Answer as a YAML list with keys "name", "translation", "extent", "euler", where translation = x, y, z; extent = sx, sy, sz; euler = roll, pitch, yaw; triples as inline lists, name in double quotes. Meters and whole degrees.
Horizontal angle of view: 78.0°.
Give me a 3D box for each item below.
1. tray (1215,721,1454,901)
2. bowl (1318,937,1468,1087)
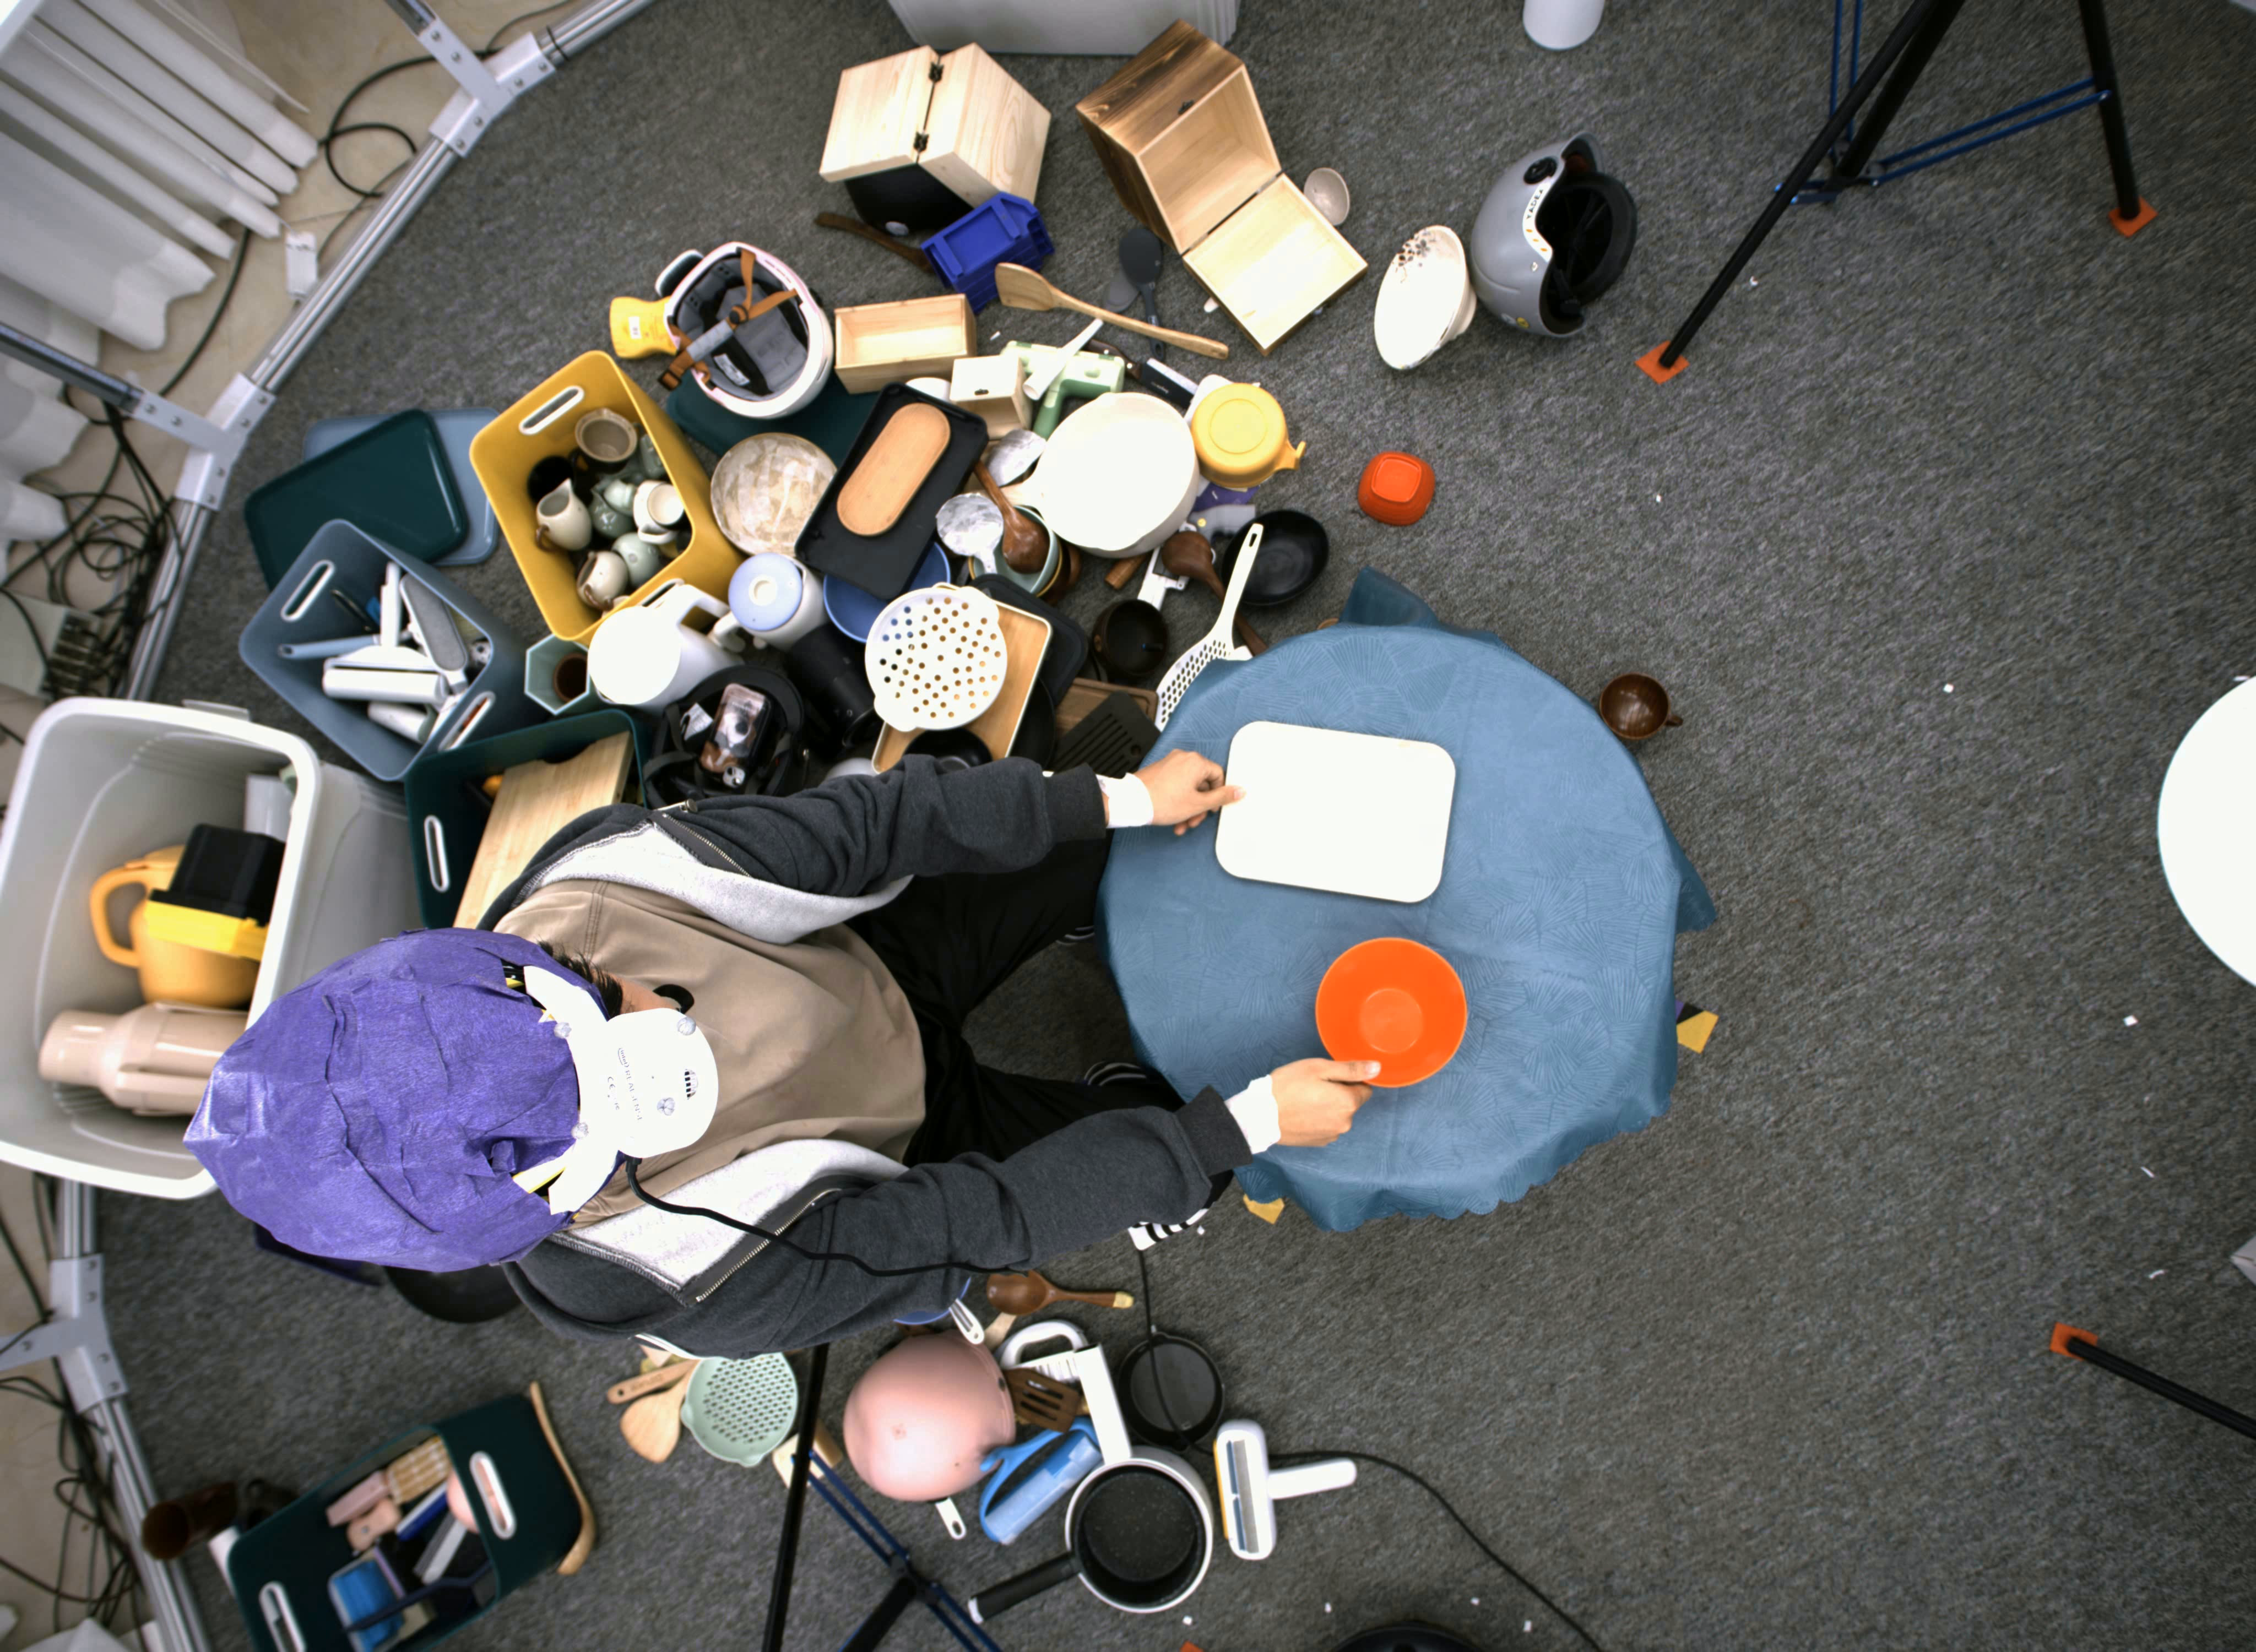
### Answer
- name: "tray"
  translation: [0.218, -0.018, 1.465]
  extent: [0.240, 0.017, 0.171]
  euler: [8, 89, 11]
- name: "bowl"
  translation: [0.267, 0.187, 1.402]
  extent: [0.148, 0.105, 0.147]
  euler: [-1, 85, 9]
